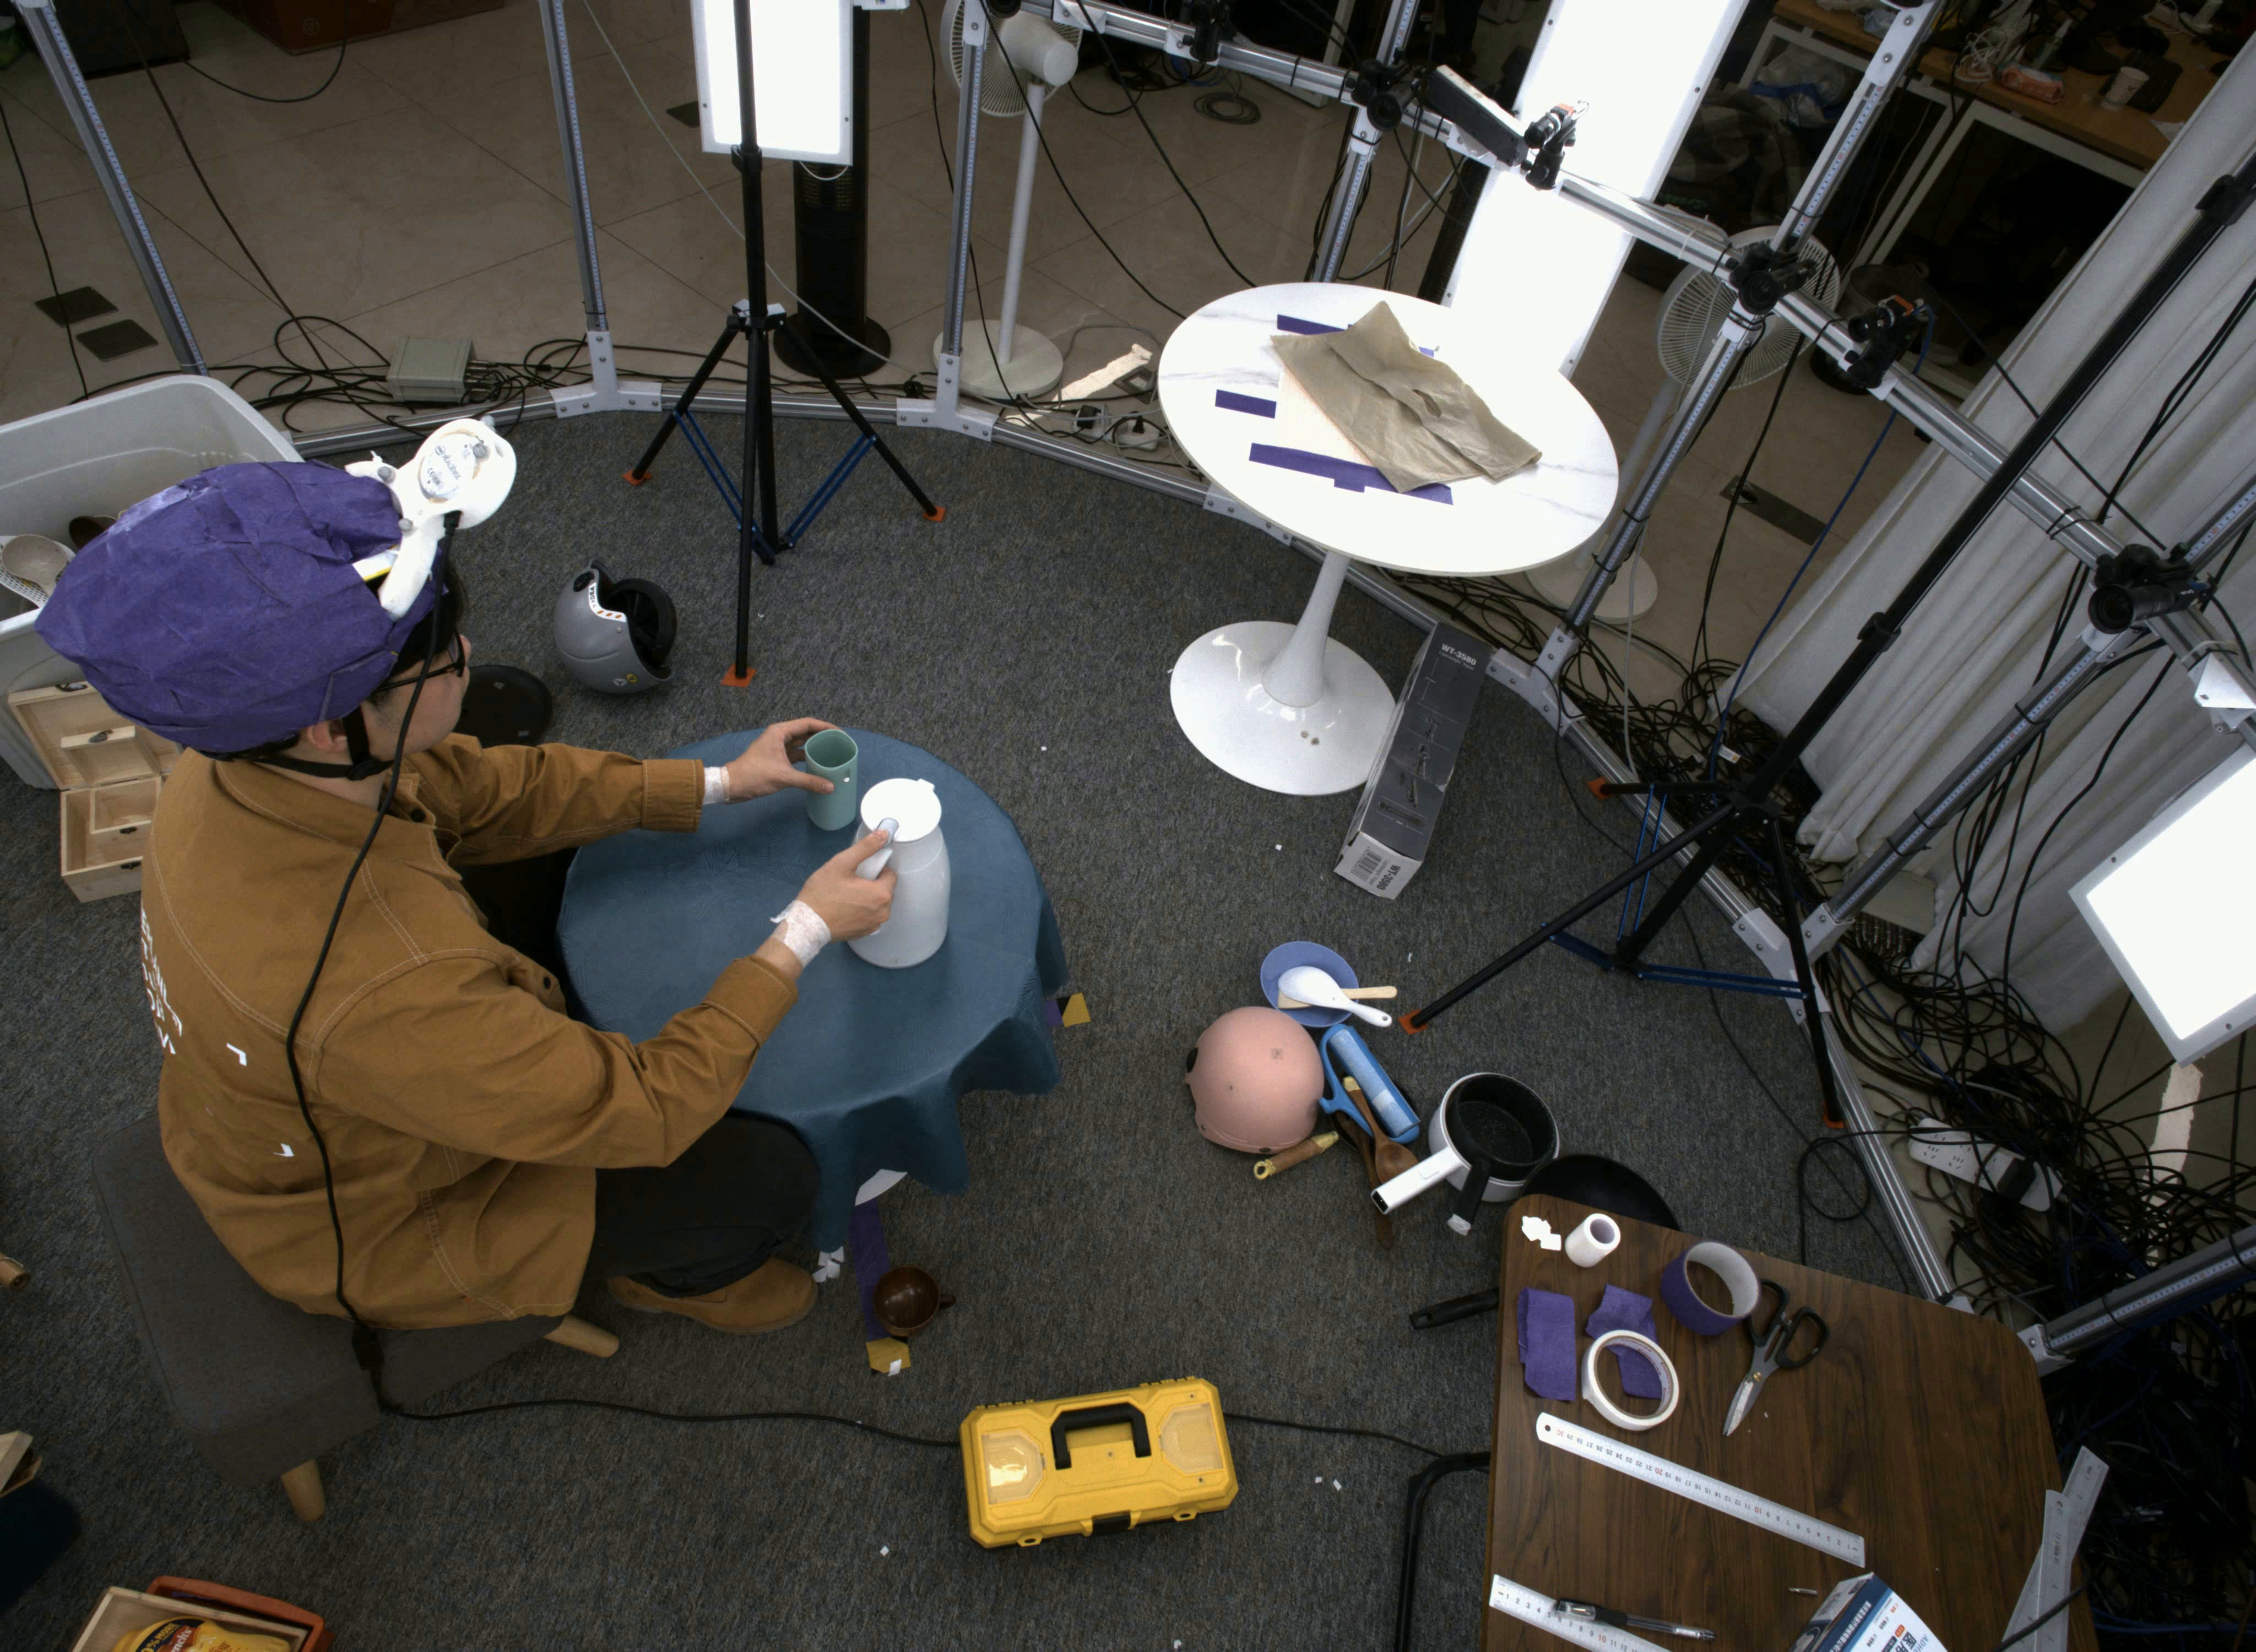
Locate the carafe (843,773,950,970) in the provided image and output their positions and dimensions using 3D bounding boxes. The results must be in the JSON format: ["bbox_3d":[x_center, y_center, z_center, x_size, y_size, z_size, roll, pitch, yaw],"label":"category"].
[{"bbox_3d":[-0.283,0.062,1.552,0.131,0.254,0.166,23,52,6],"label":"carafe"}]

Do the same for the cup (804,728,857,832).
[{"bbox_3d":[-0.389,-0.059,1.694,0.066,0.135,0.065,7,51,-7],"label":"cup"}]
